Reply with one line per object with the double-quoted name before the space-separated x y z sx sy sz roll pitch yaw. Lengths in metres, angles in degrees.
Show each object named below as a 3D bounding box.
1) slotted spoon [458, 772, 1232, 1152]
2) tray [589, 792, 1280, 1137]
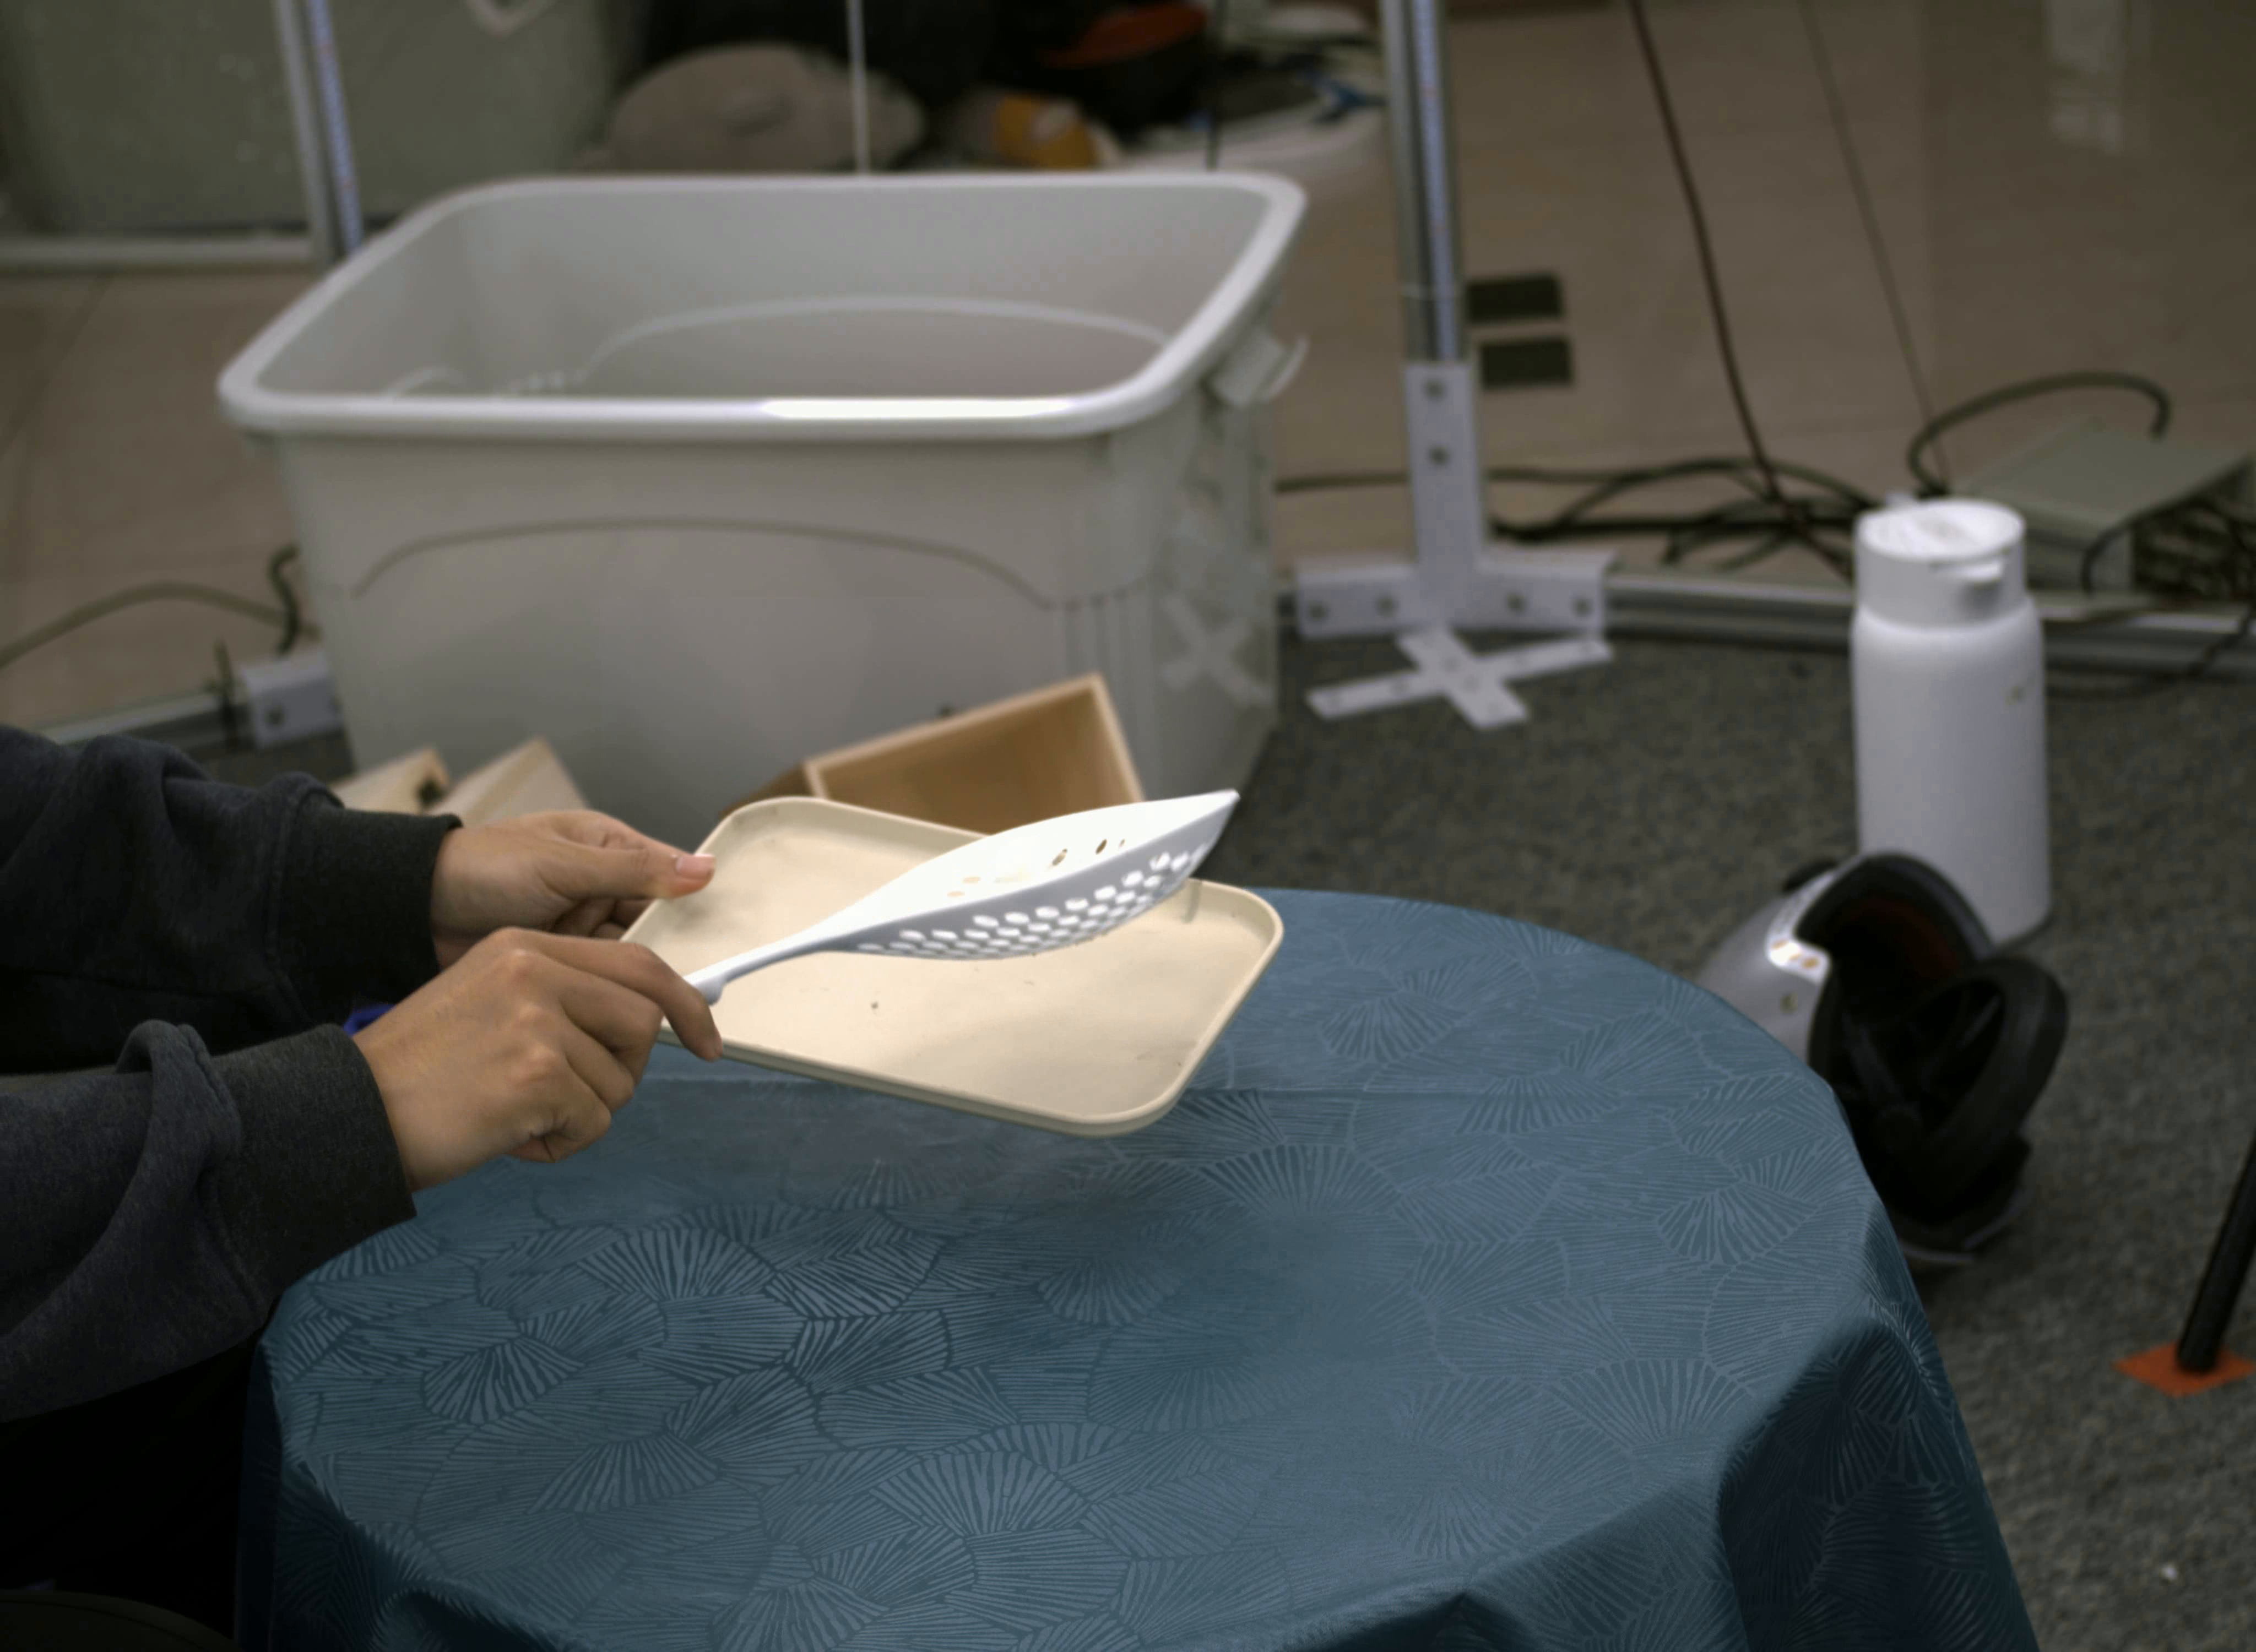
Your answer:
"slotted spoon" -0.105 0.046 2.006 0.346 0.050 0.137 -17 5 -39
"tray" -0.073 0.053 2.178 0.238 0.018 0.169 12 36 19
